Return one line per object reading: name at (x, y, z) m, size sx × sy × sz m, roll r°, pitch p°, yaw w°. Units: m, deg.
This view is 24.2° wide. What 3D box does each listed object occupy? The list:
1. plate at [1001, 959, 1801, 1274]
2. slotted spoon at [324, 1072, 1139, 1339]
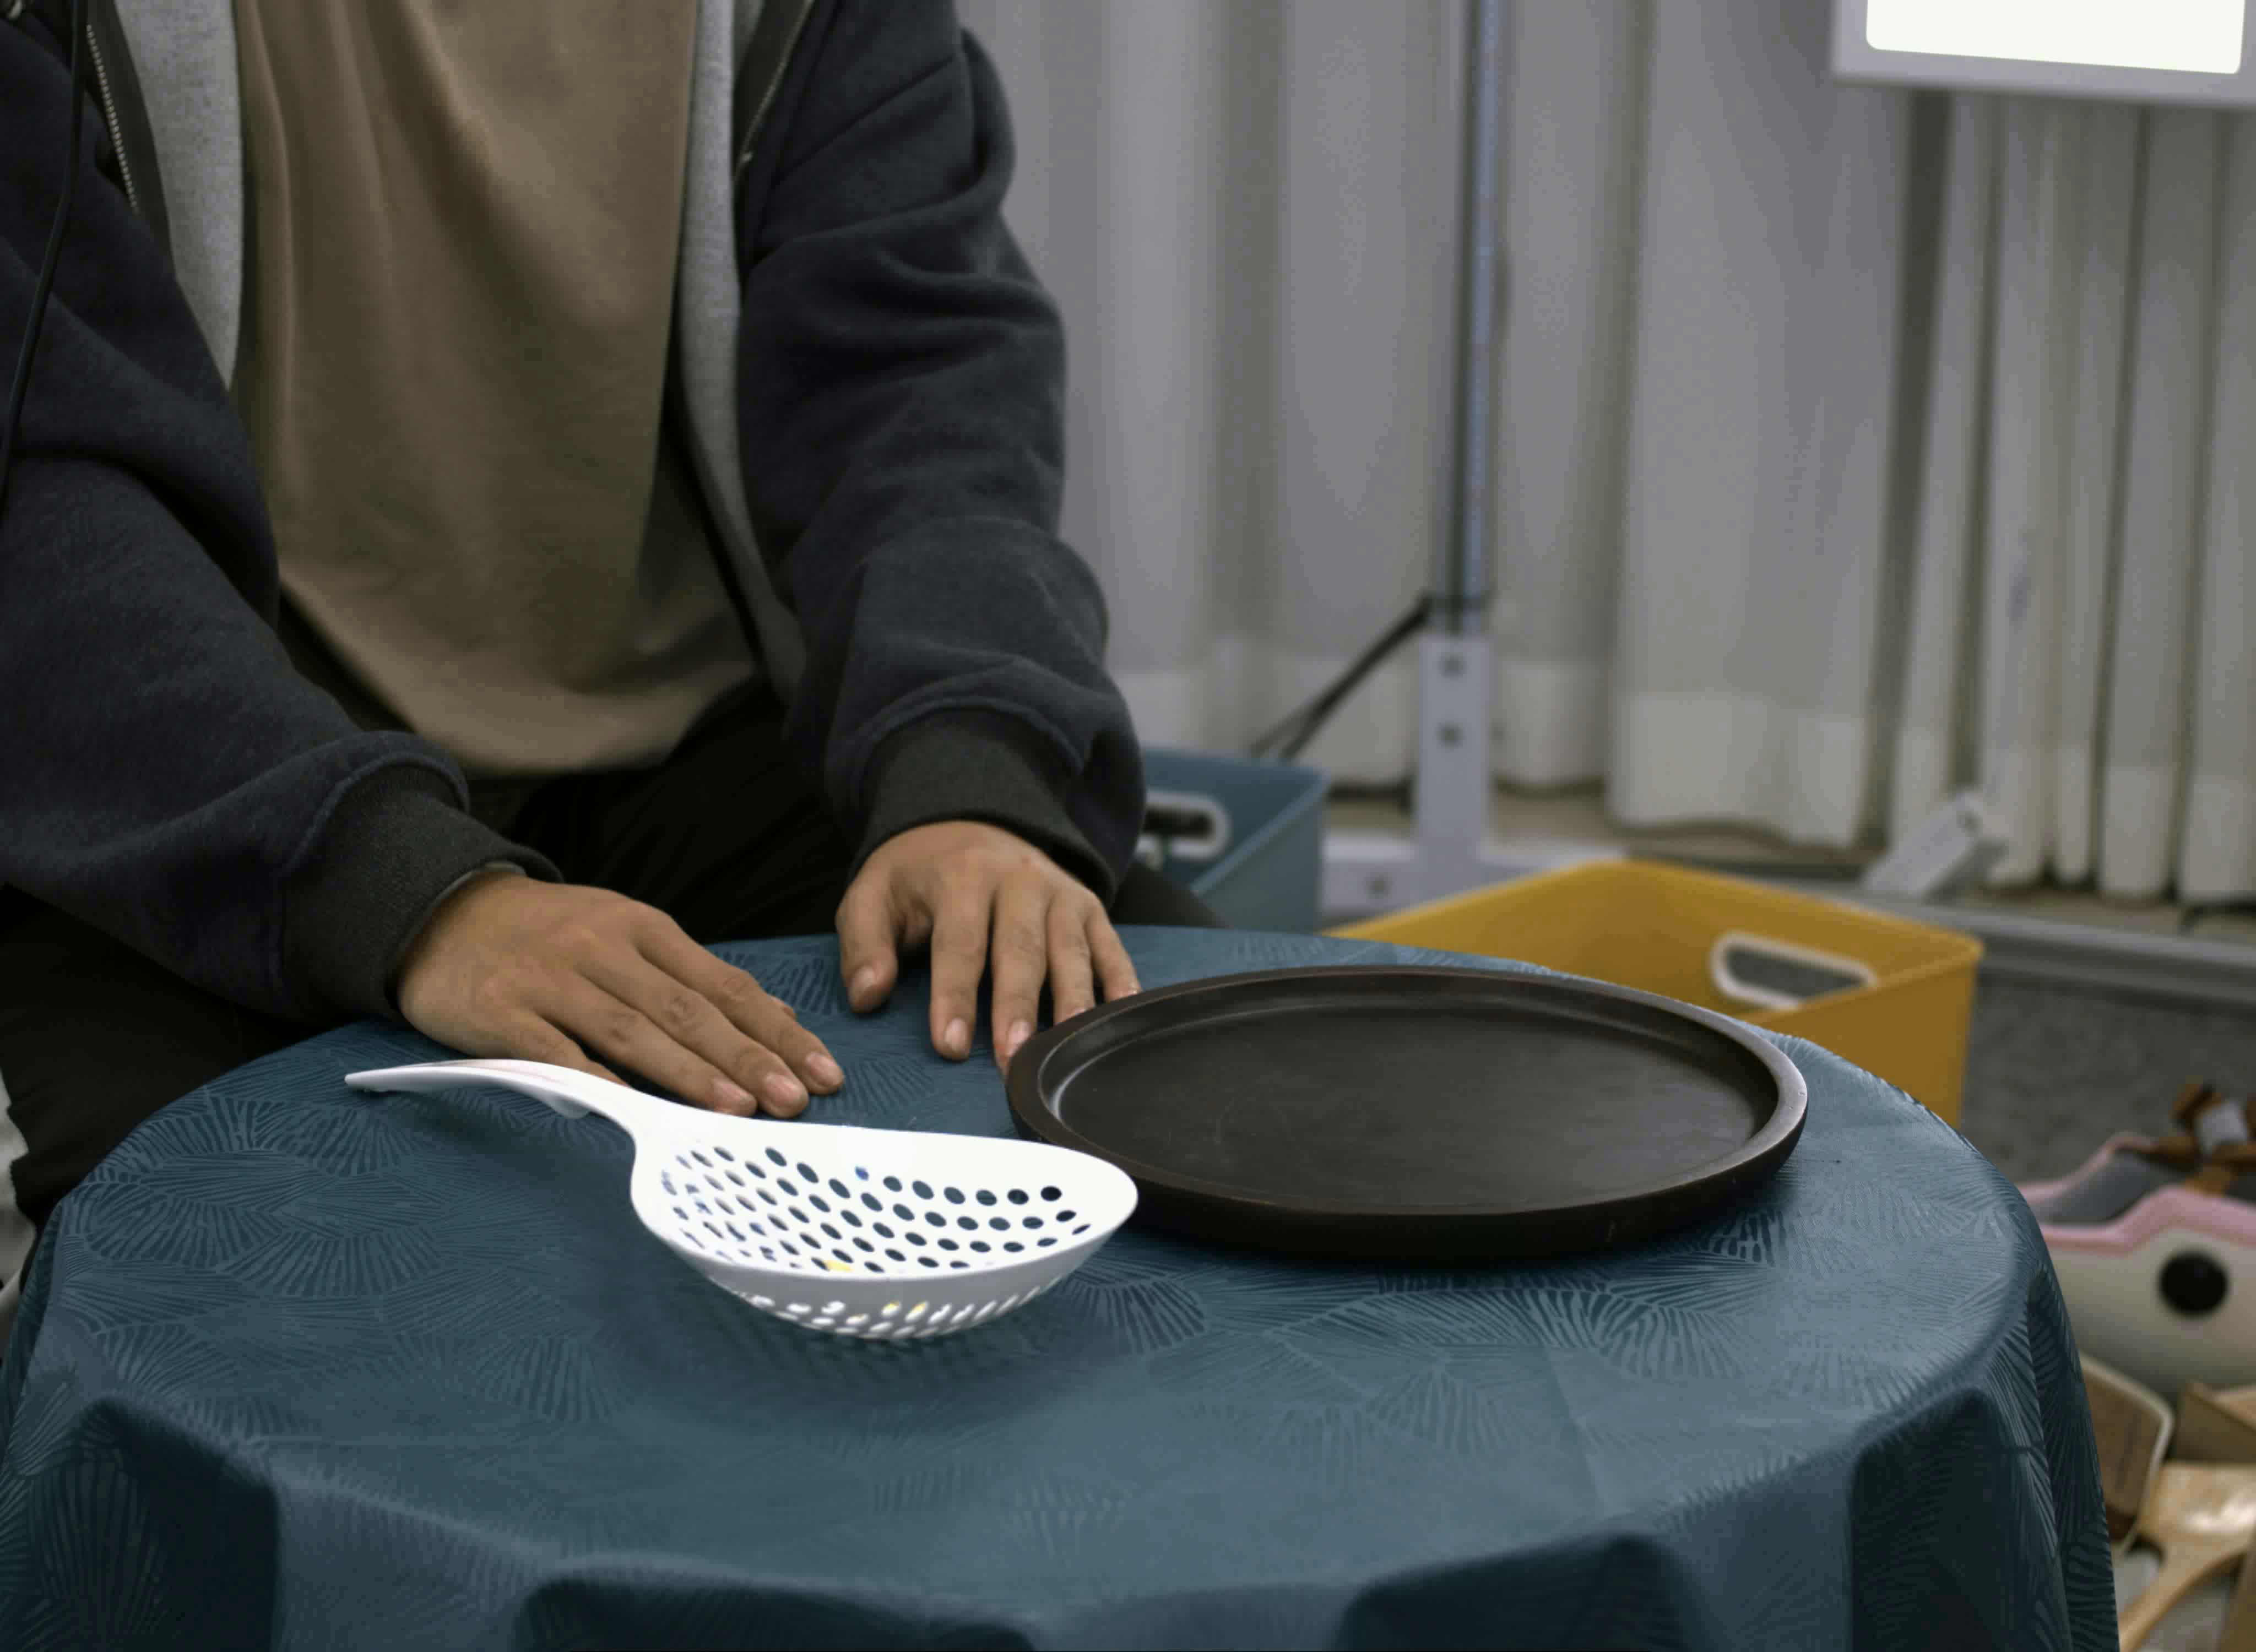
plate at (0.086, 0.090, 1.663) m, size 0.254 × 0.029 × 0.253 m, roll 0°, pitch 16°, yaw 1°
slotted spoon at (-0.137, 0.100, 1.583) m, size 0.137 × 0.051 × 0.343 m, roll -15°, pitch 22°, yaw -39°
